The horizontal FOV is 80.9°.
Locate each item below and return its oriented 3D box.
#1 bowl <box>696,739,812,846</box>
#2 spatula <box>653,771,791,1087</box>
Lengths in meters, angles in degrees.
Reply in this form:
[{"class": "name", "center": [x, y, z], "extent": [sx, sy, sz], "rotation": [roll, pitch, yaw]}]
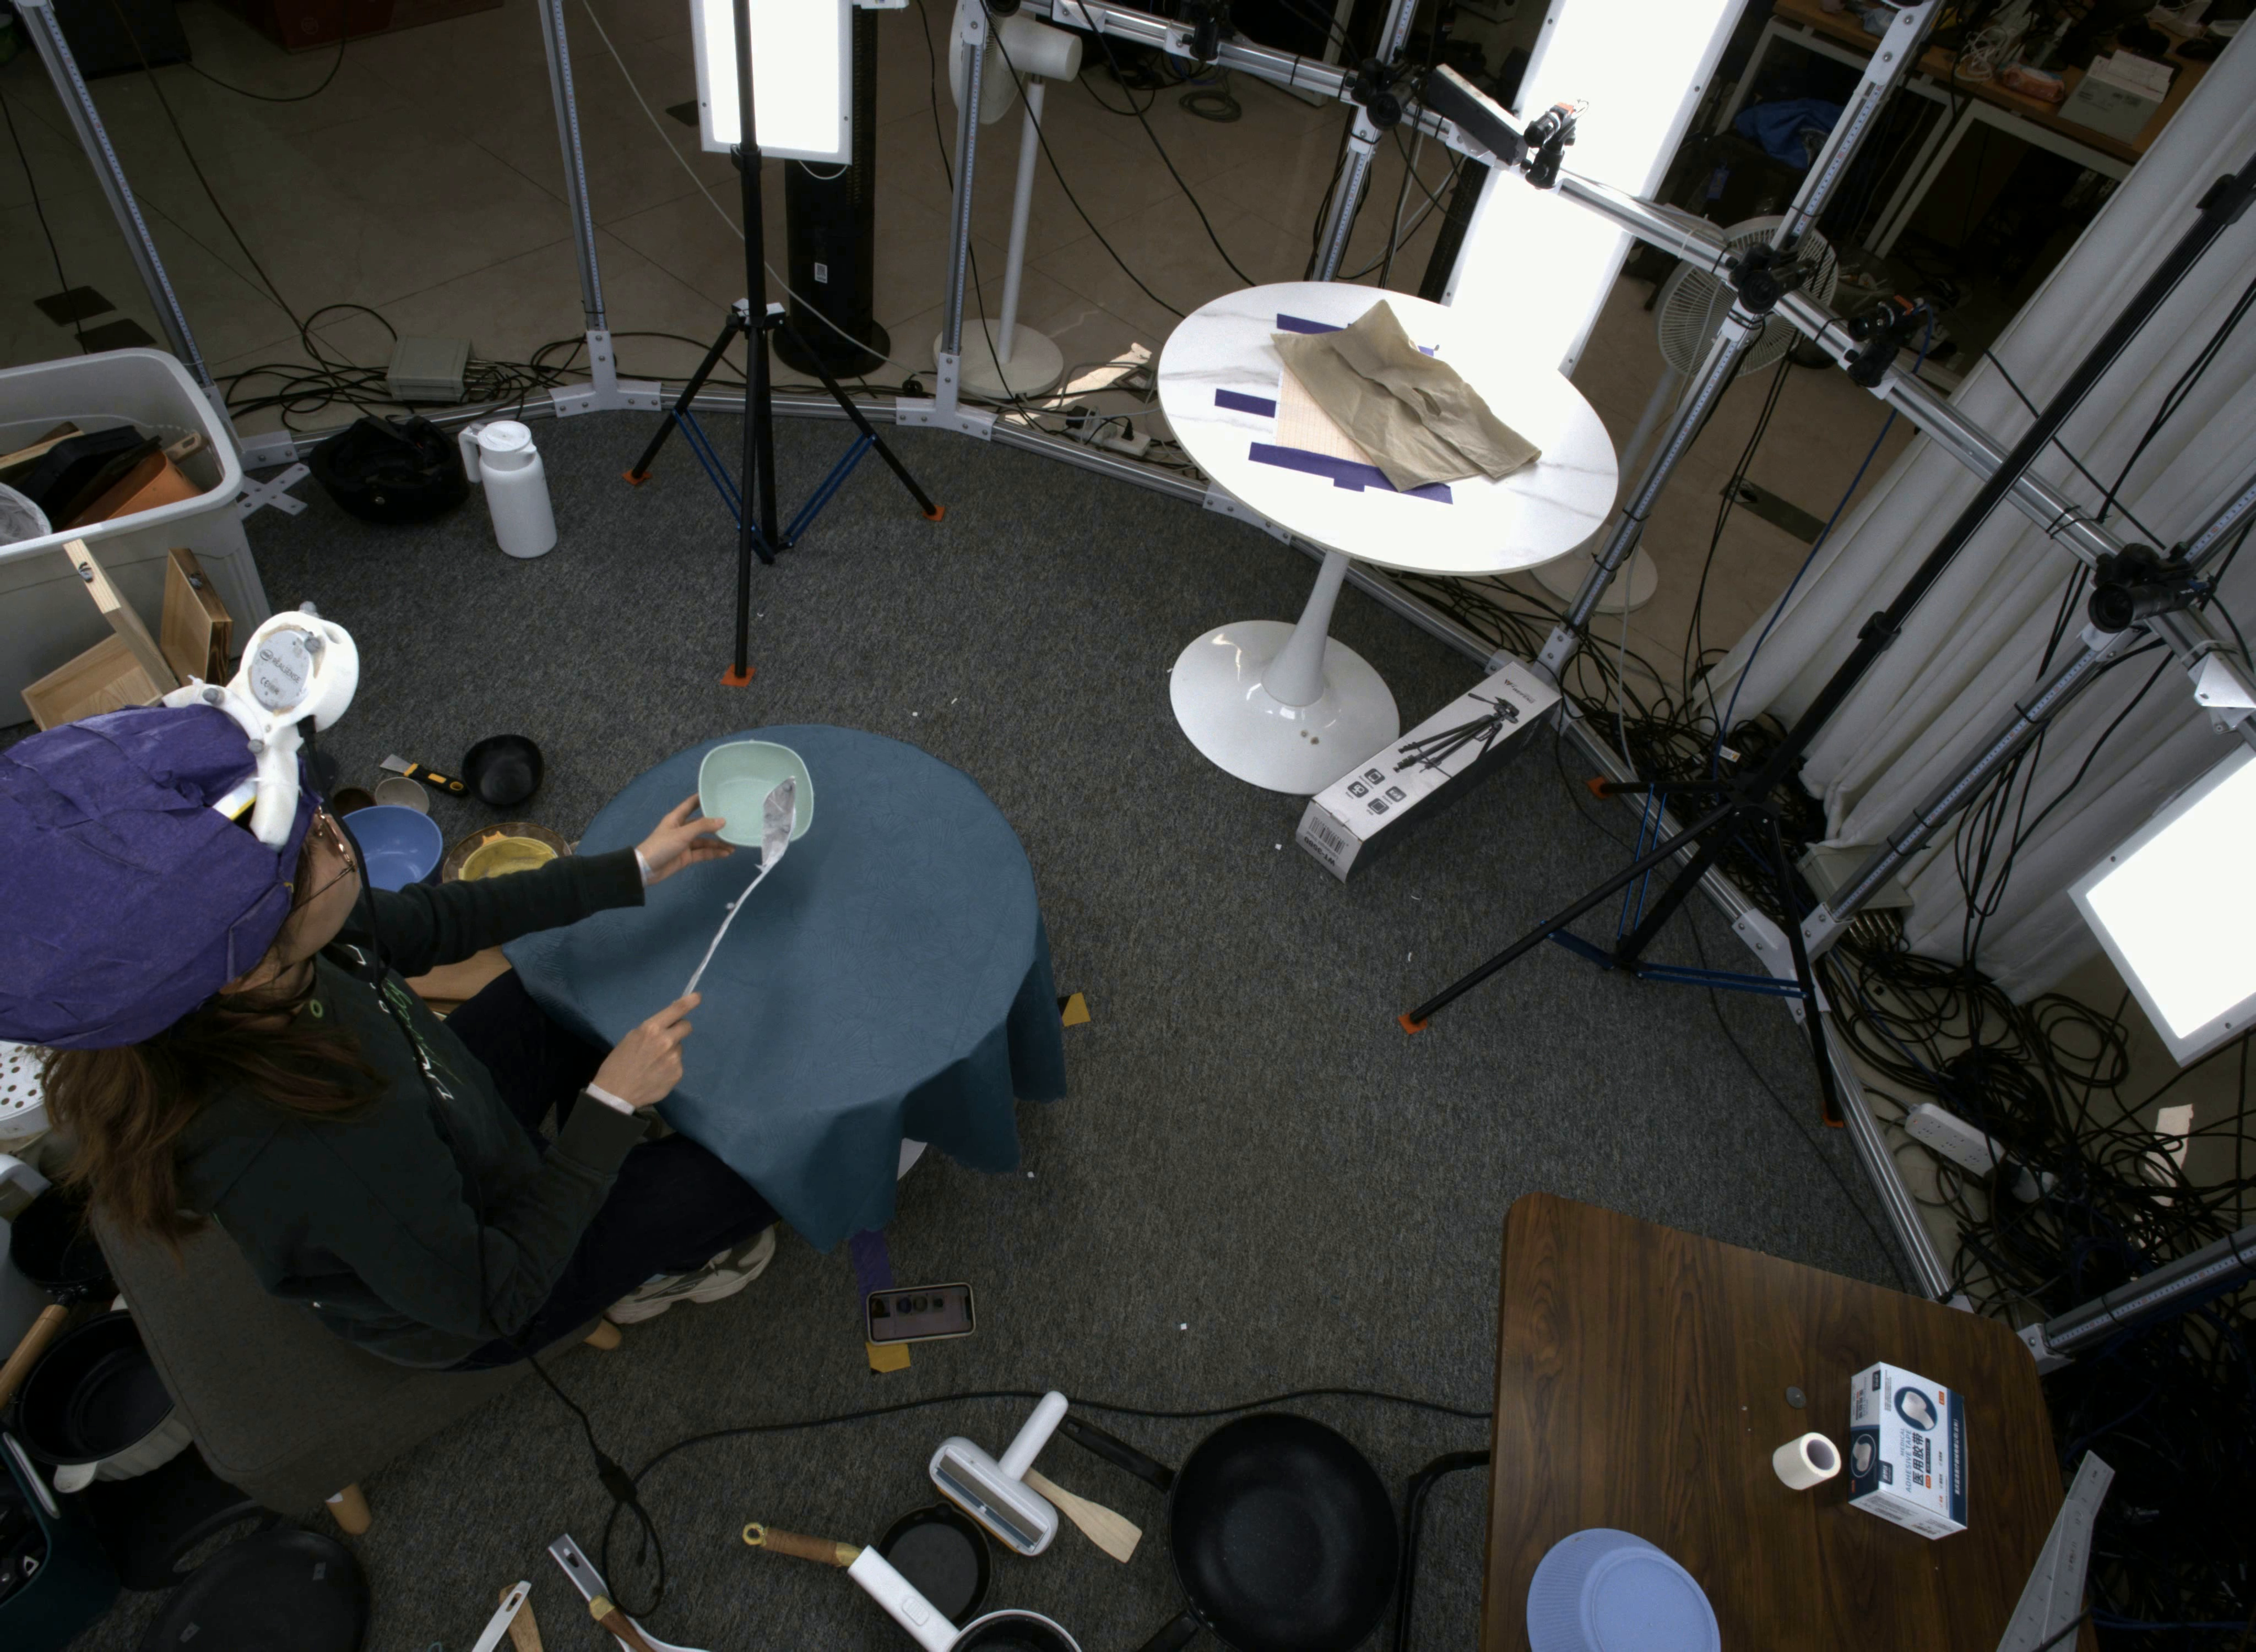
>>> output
[{"class": "bowl", "center": [-0.466, -0.033, 1.598], "extent": [0.154, 0.058, 0.150], "rotation": [13, 62, -24]}, {"class": "spatula", "center": [-0.440, 0.102, 1.387], "extent": [0.046, 0.096, 0.363], "rotation": [36, 60, -26]}]
